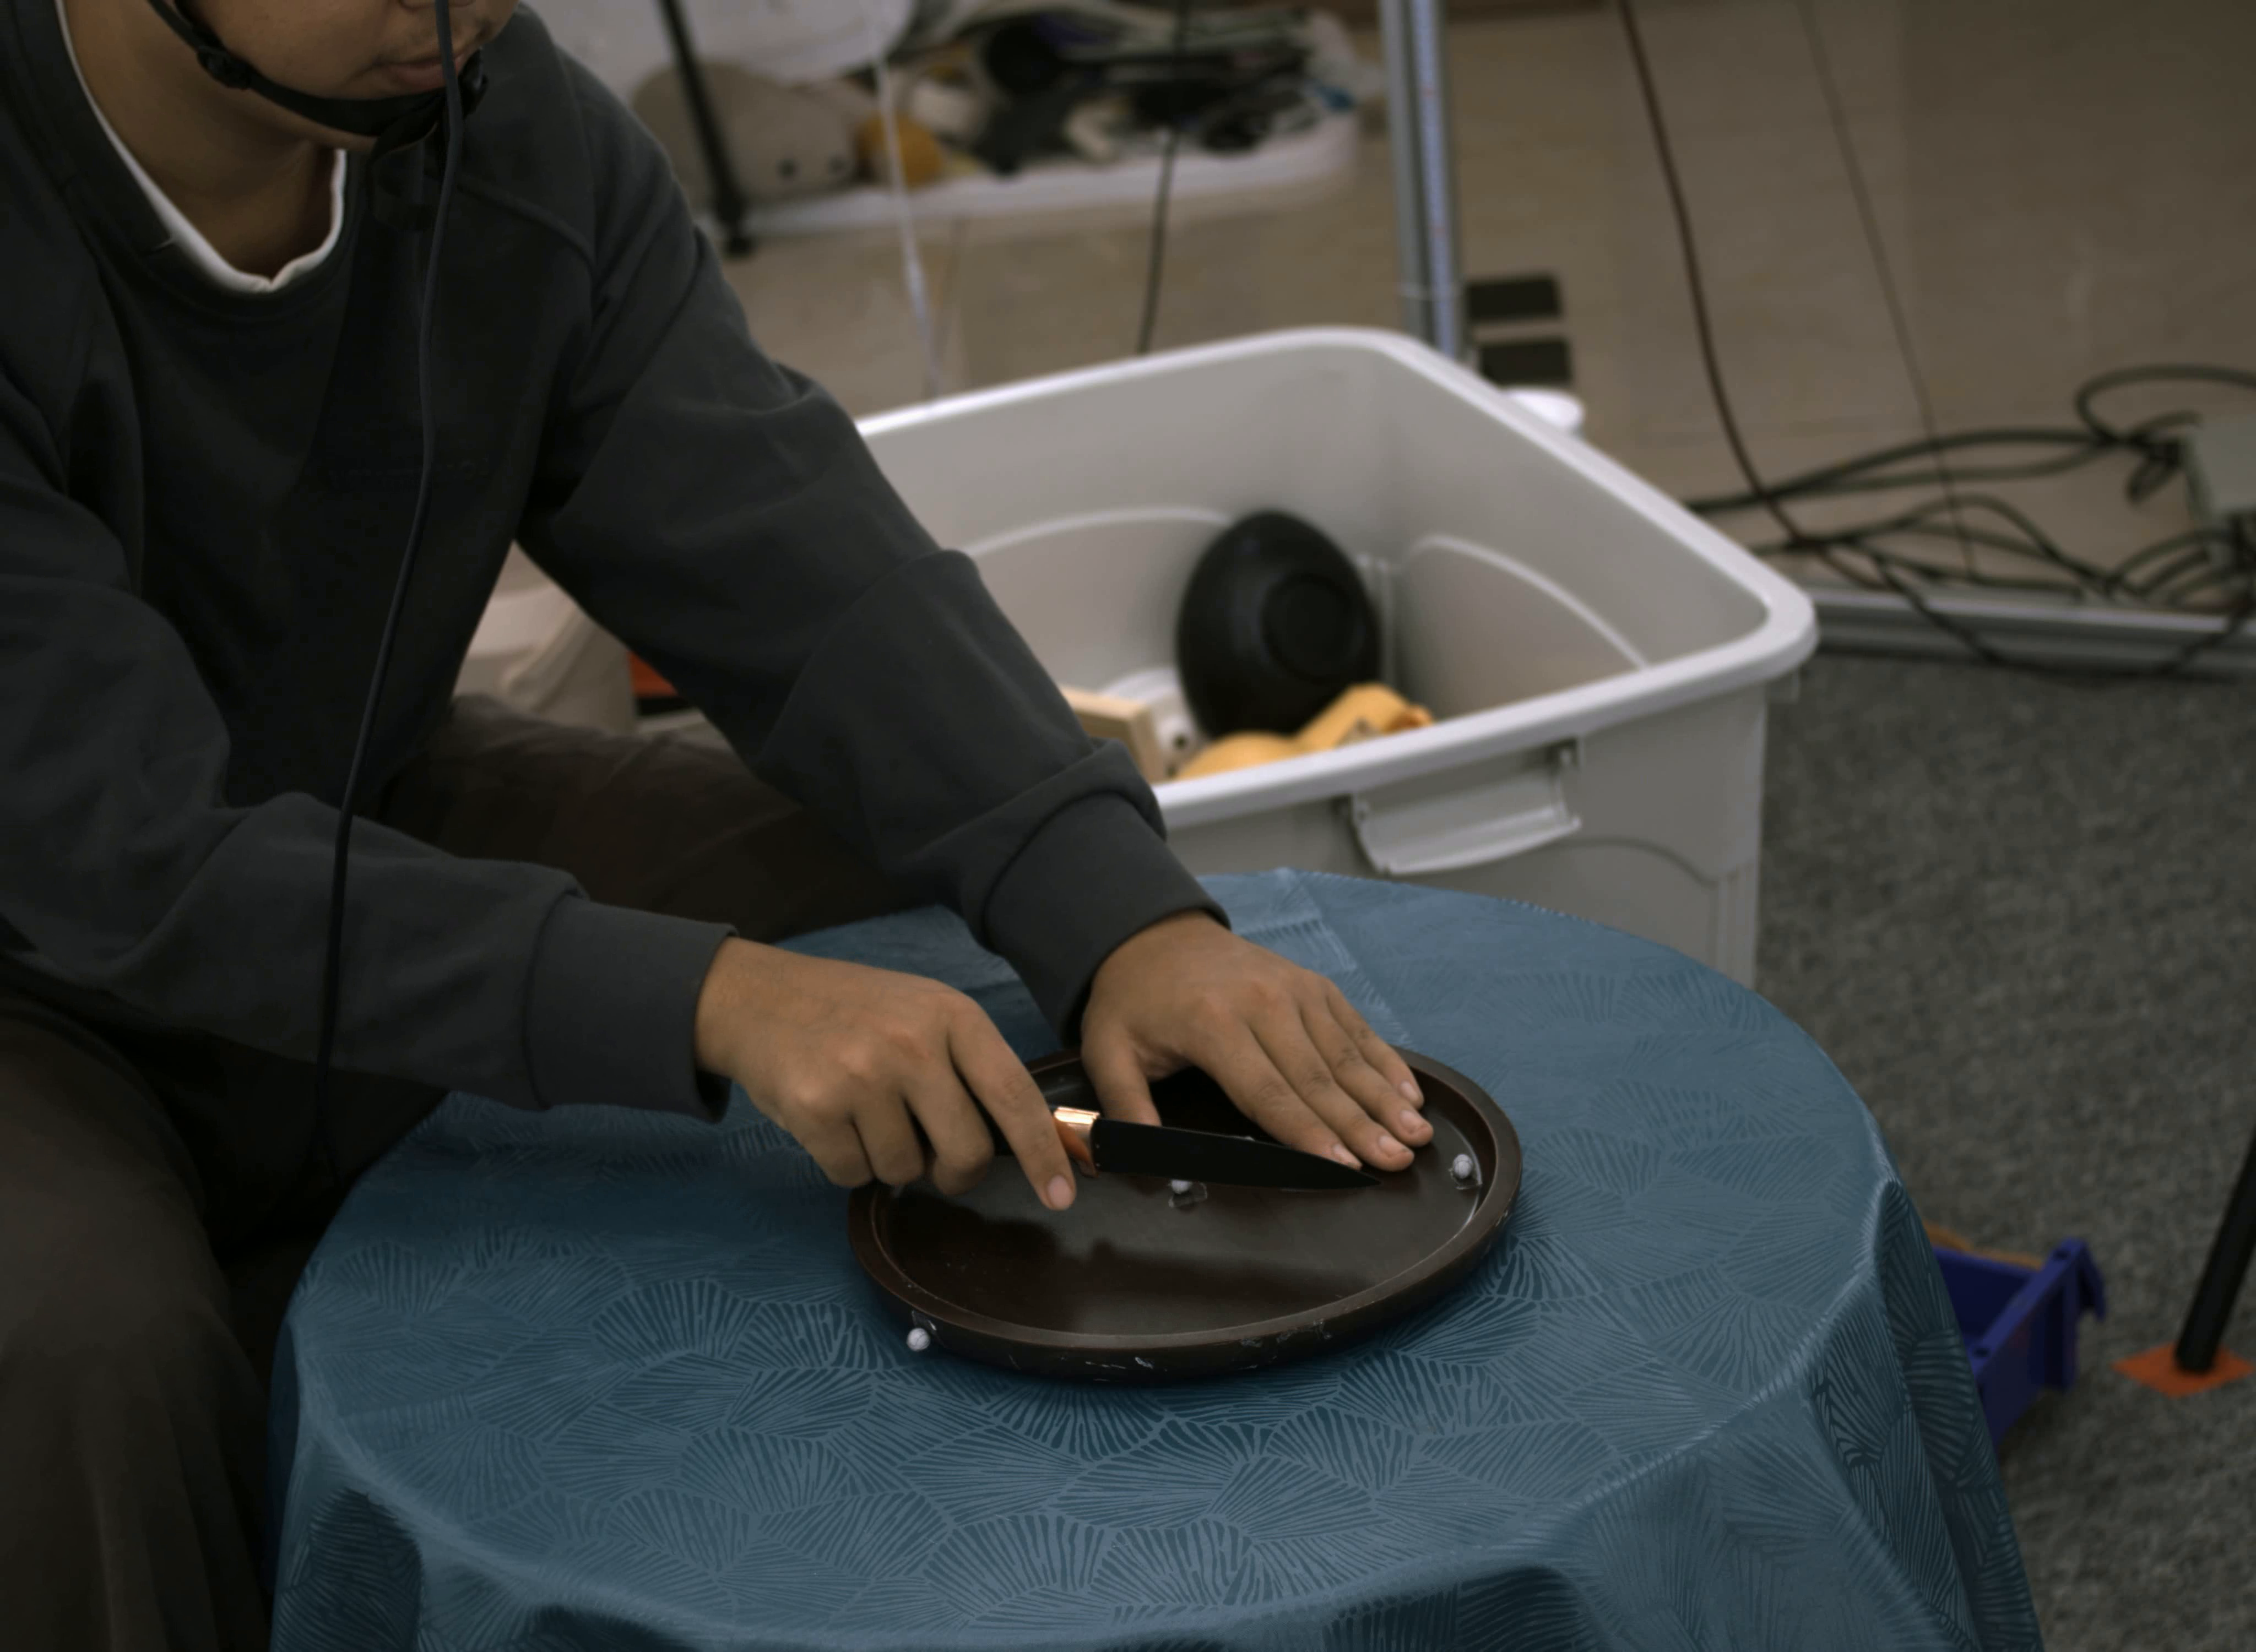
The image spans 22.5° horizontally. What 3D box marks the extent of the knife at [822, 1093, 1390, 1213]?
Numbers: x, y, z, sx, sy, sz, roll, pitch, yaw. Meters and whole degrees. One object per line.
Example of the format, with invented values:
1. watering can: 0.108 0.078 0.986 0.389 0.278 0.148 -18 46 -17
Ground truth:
1. knife: -0.010 0.120 2.101 0.225 0.026 0.017 7 21 20

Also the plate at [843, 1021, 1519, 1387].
1. plate: 0.020 0.139 2.114 0.254 0.029 0.251 -7 24 3
